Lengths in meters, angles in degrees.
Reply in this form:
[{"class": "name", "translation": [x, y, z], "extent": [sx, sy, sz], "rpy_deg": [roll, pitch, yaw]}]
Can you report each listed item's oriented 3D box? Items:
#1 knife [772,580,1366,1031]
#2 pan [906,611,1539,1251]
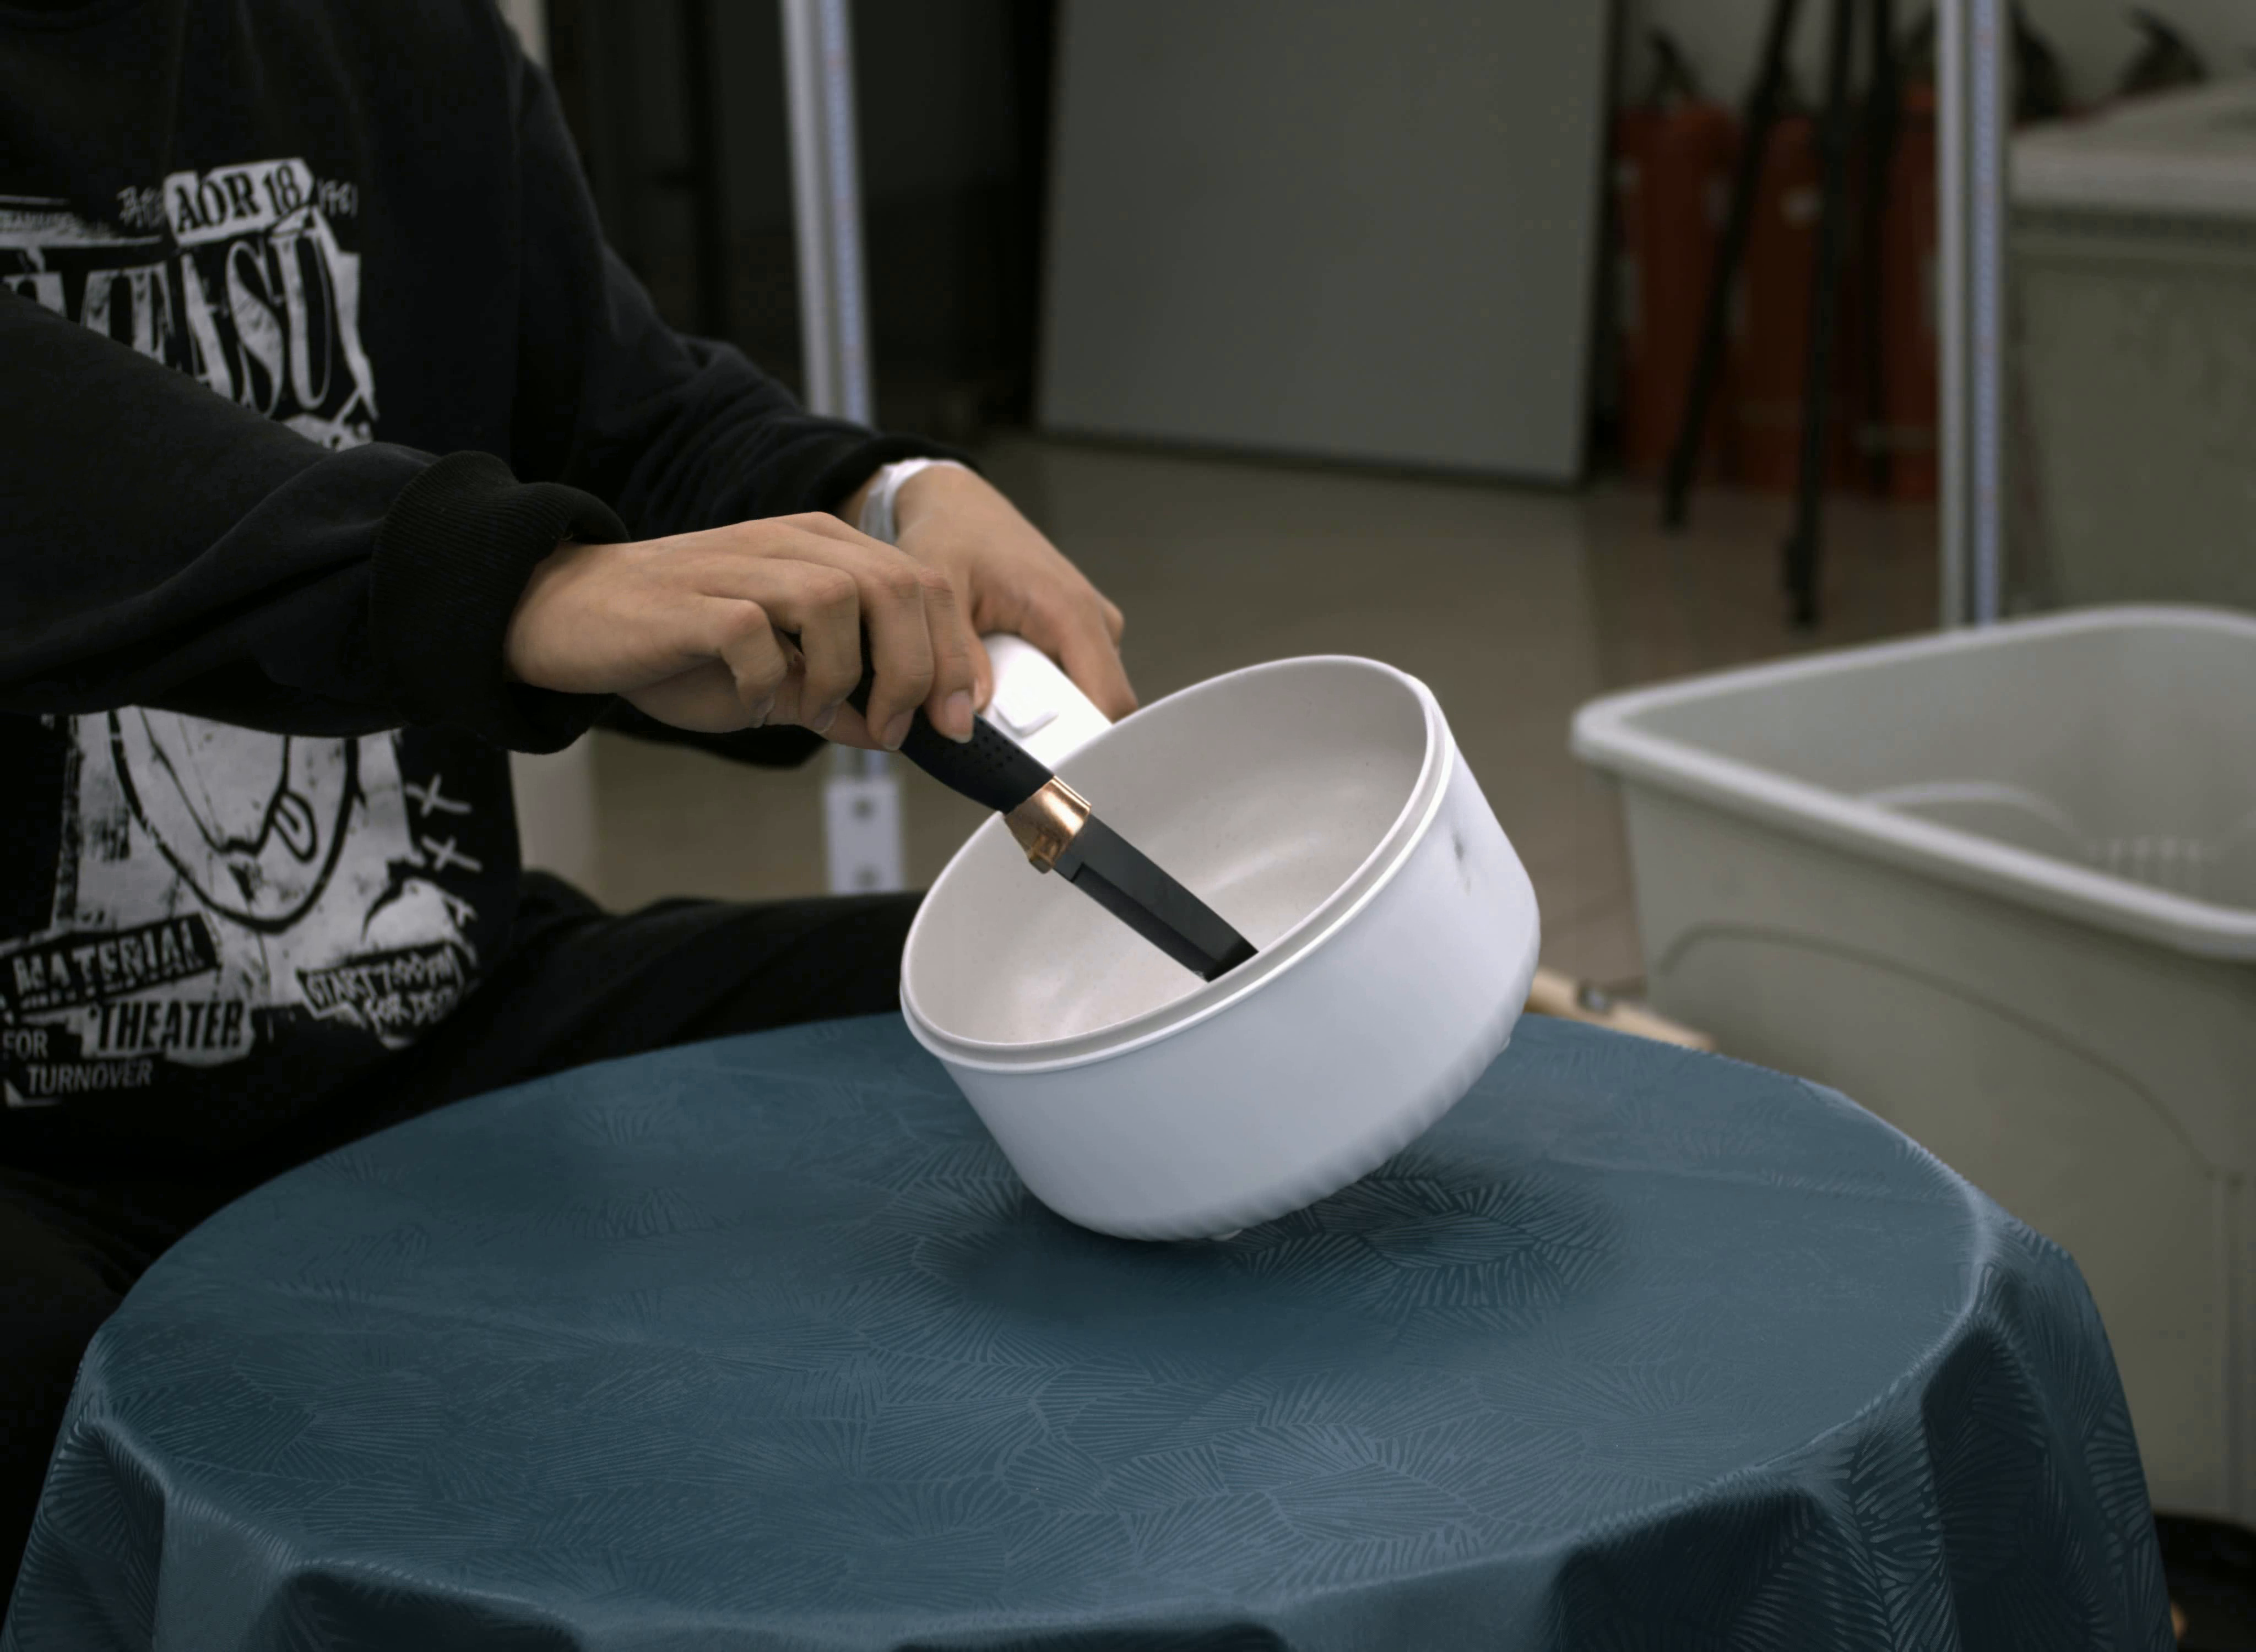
[{"class": "knife", "translation": [-0.016, -0.004, 1.626], "extent": [0.223, 0.017, 0.026], "rpy_deg": [36, 7, -13]}, {"class": "pan", "translation": [0.013, 0.022, 1.816], "extent": [0.200, 0.101, 0.358], "rpy_deg": [-37, 25, -3]}]
